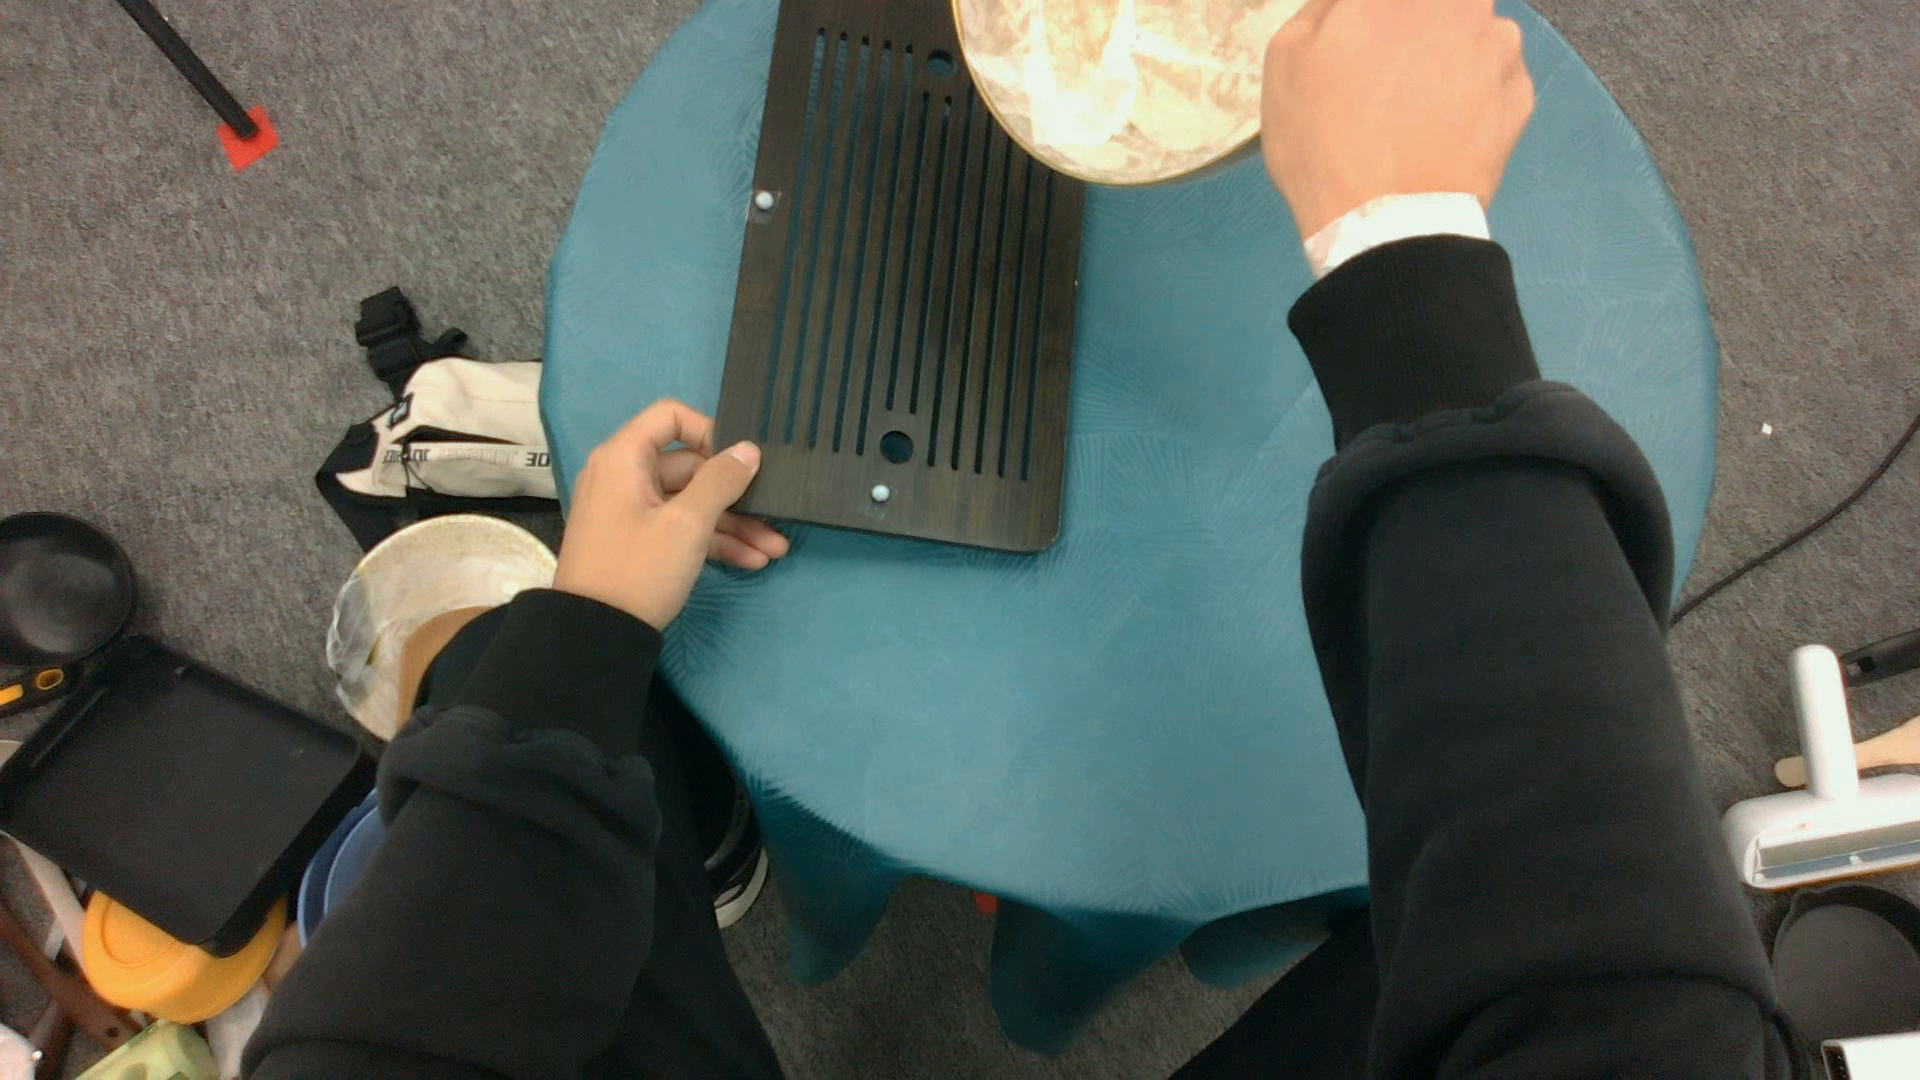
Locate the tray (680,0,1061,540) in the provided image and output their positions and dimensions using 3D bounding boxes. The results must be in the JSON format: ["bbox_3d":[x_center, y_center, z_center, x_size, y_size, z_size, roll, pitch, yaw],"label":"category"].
[{"bbox_3d":[-0.036,-0.154,0.697,0.170,0.018,0.307,8,72,-9],"label":"tray"}]

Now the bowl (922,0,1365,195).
[{"bbox_3d":[0.090,-0.248,0.573,0.214,0.095,0.214,7,101,36],"label":"bowl"}]
